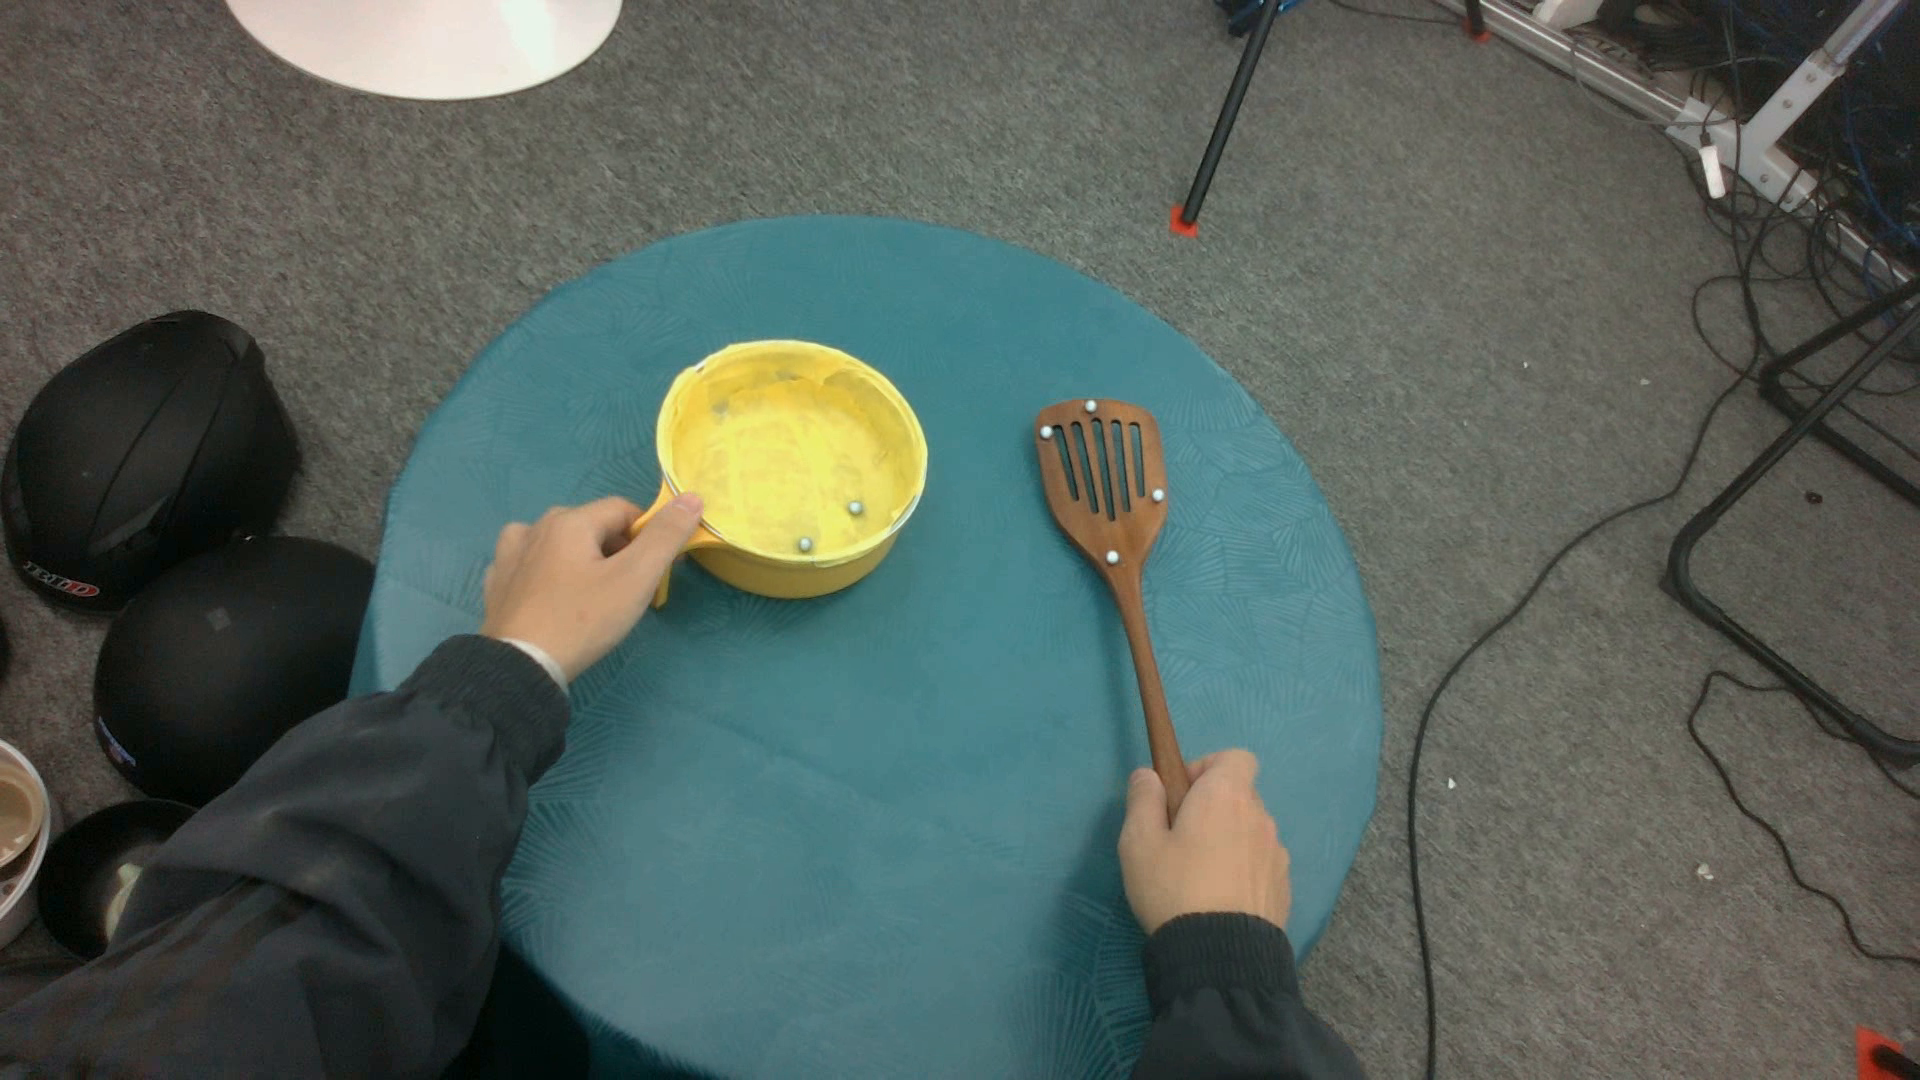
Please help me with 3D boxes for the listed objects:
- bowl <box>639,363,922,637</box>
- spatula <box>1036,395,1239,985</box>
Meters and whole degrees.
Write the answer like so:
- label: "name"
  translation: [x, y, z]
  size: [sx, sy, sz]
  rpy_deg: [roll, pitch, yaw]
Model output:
- label: "bowl"
  translation: [-0.112, -0.020, 0.808]
  size: [0.153, 0.074, 0.180]
  rpy_deg: [37, 56, 13]
- label: "spatula"
  translation: [0.112, 0.069, 0.812]
  size: [0.085, 0.024, 0.388]
  rpy_deg: [-6, 55, -4]
